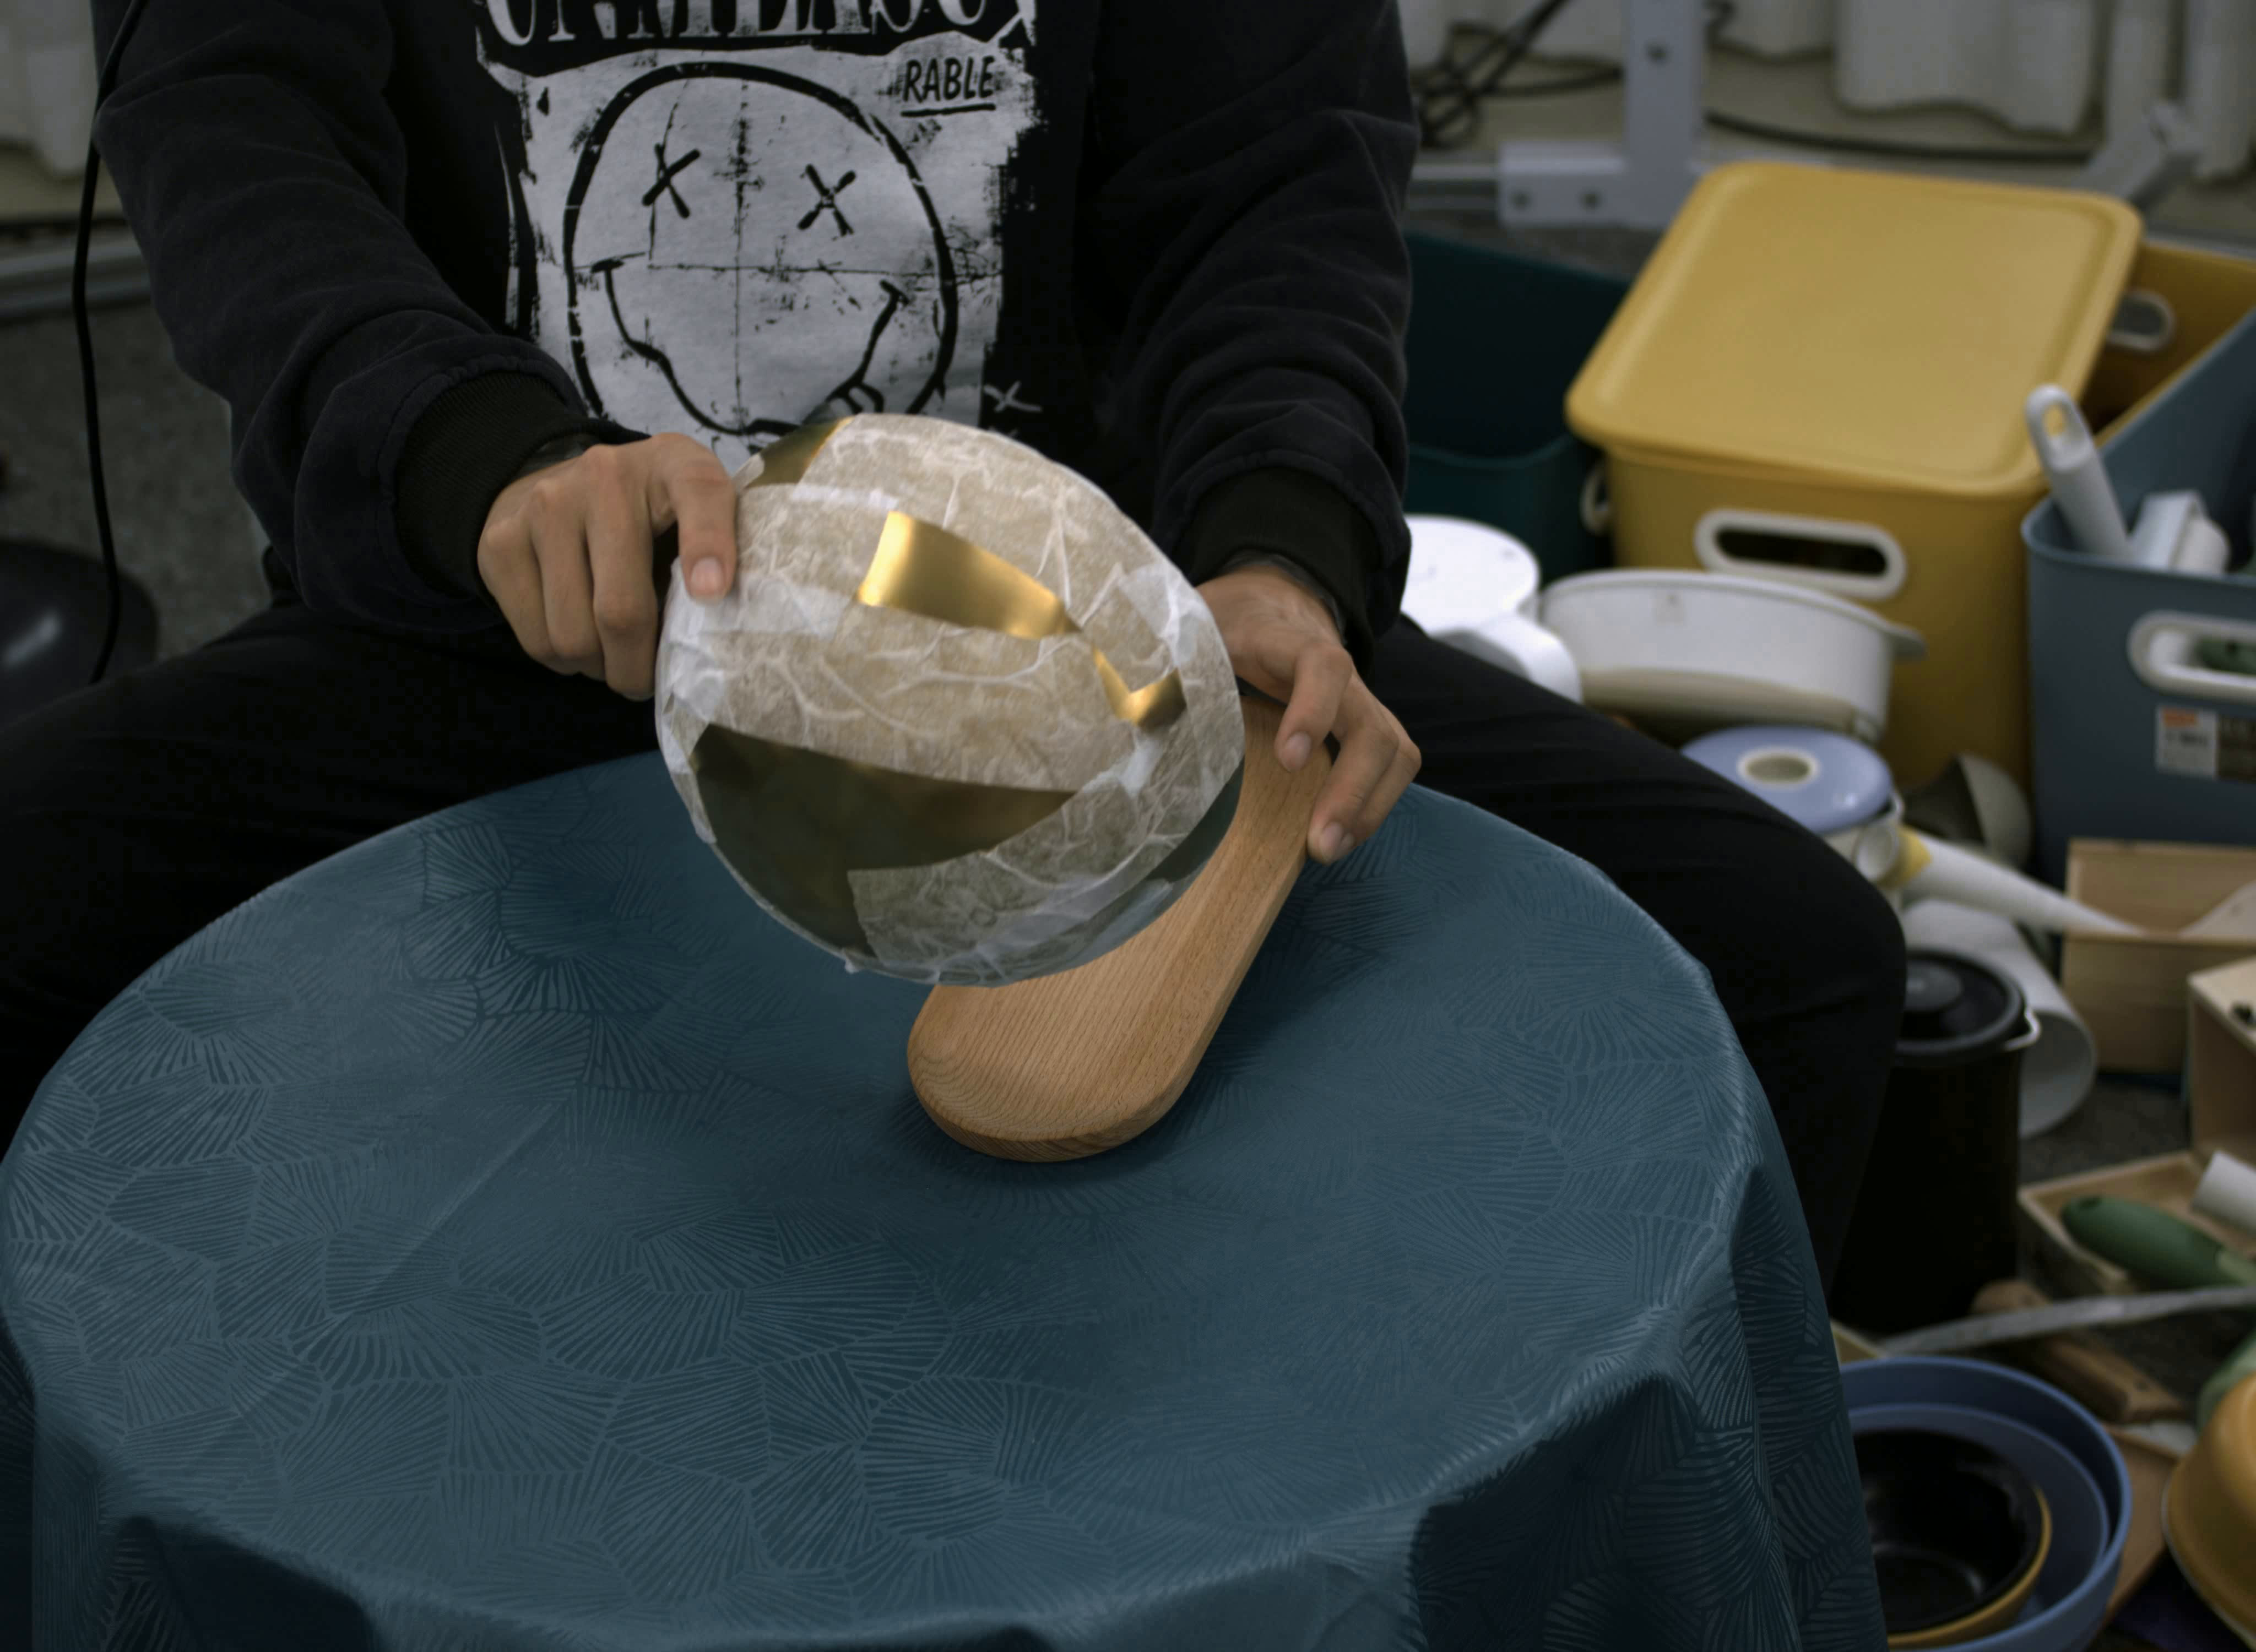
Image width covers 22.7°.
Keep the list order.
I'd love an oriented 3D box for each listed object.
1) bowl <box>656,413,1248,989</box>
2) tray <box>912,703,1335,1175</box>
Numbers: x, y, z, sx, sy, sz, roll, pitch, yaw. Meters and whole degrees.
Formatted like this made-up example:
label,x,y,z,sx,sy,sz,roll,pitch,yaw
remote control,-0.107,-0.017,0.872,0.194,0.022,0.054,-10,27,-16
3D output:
label,x,y,z,sx,sy,sz,roll,pitch,yaw
bowl,-0.071,-0.019,1.793,0.213,0.212,0.096,10,39,23
tray,0.001,0.037,1.953,0.101,0.020,0.236,7,45,22
